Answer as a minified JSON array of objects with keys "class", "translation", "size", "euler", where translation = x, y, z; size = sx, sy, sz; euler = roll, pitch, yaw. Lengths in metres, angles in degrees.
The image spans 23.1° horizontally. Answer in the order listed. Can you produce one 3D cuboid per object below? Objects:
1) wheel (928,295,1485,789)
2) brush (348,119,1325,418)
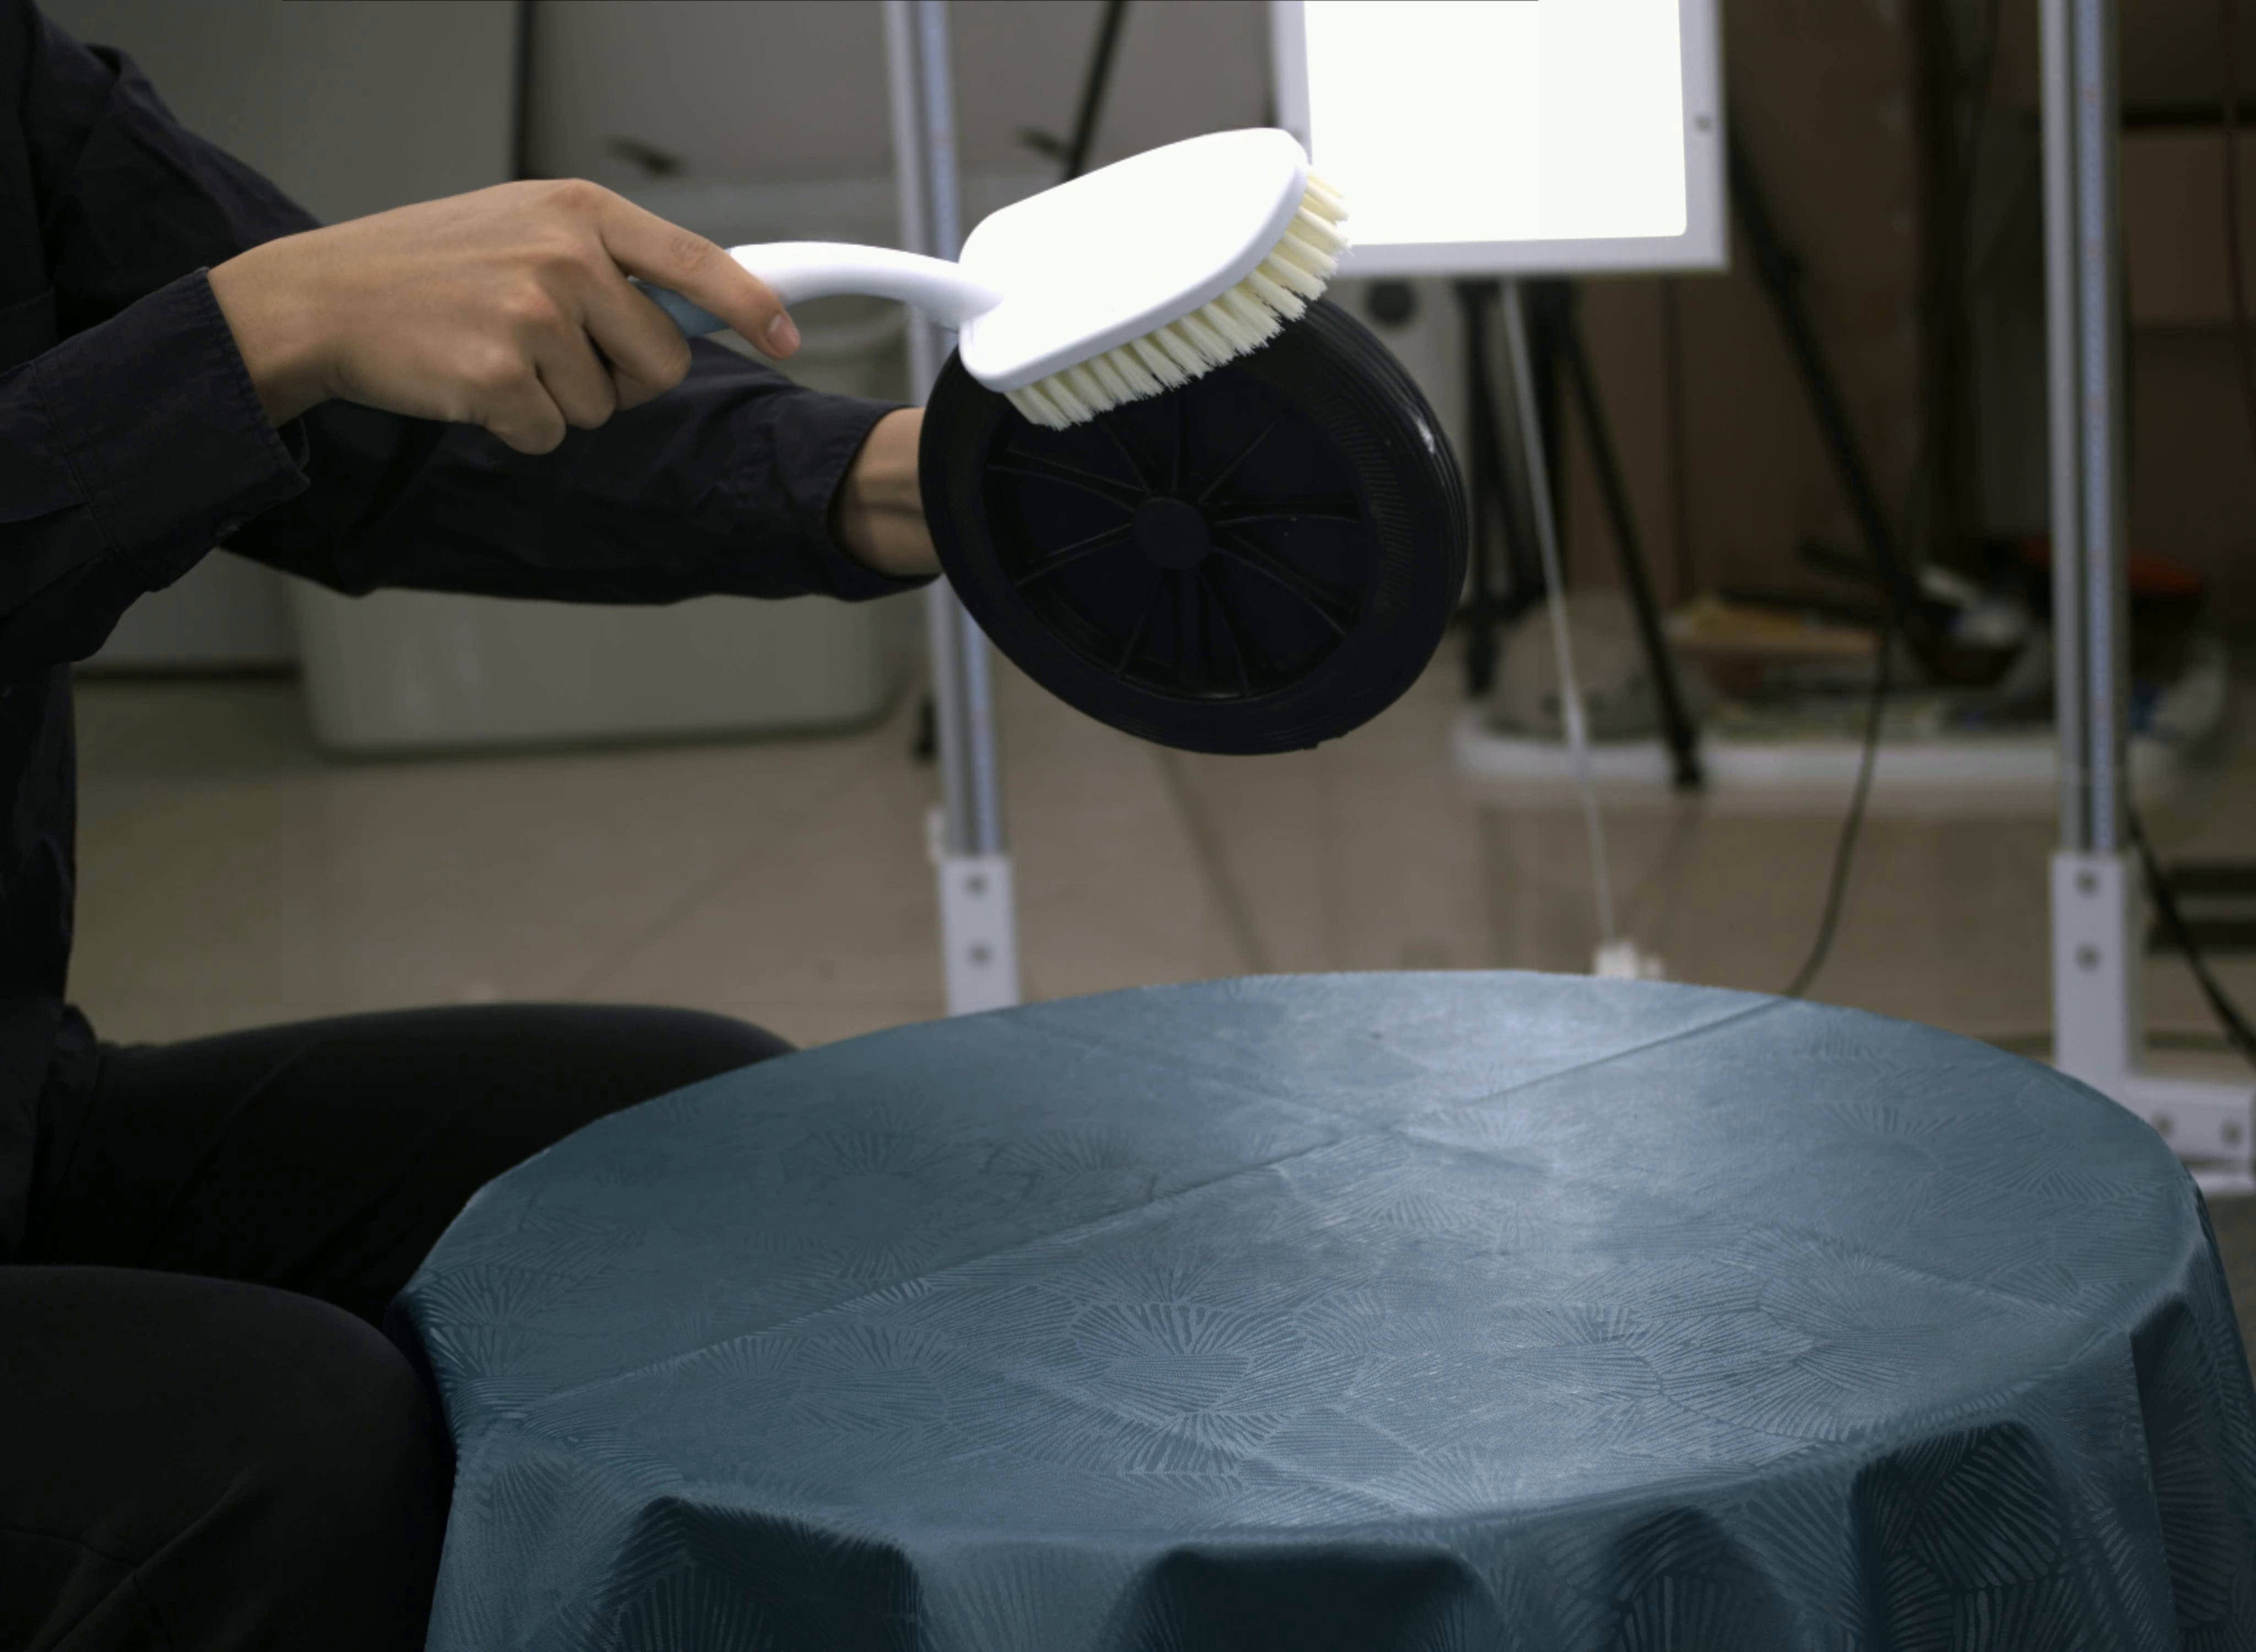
[{"class":"wheel","translation":[0.032,-0.106,1.834],"size":[0.192,0.188,0.078],"euler":[10,39,17]},{"class":"brush","translation":[-0.090,-0.161,1.754],"size":[0.329,0.084,0.082],"euler":[-12,20,18]}]
